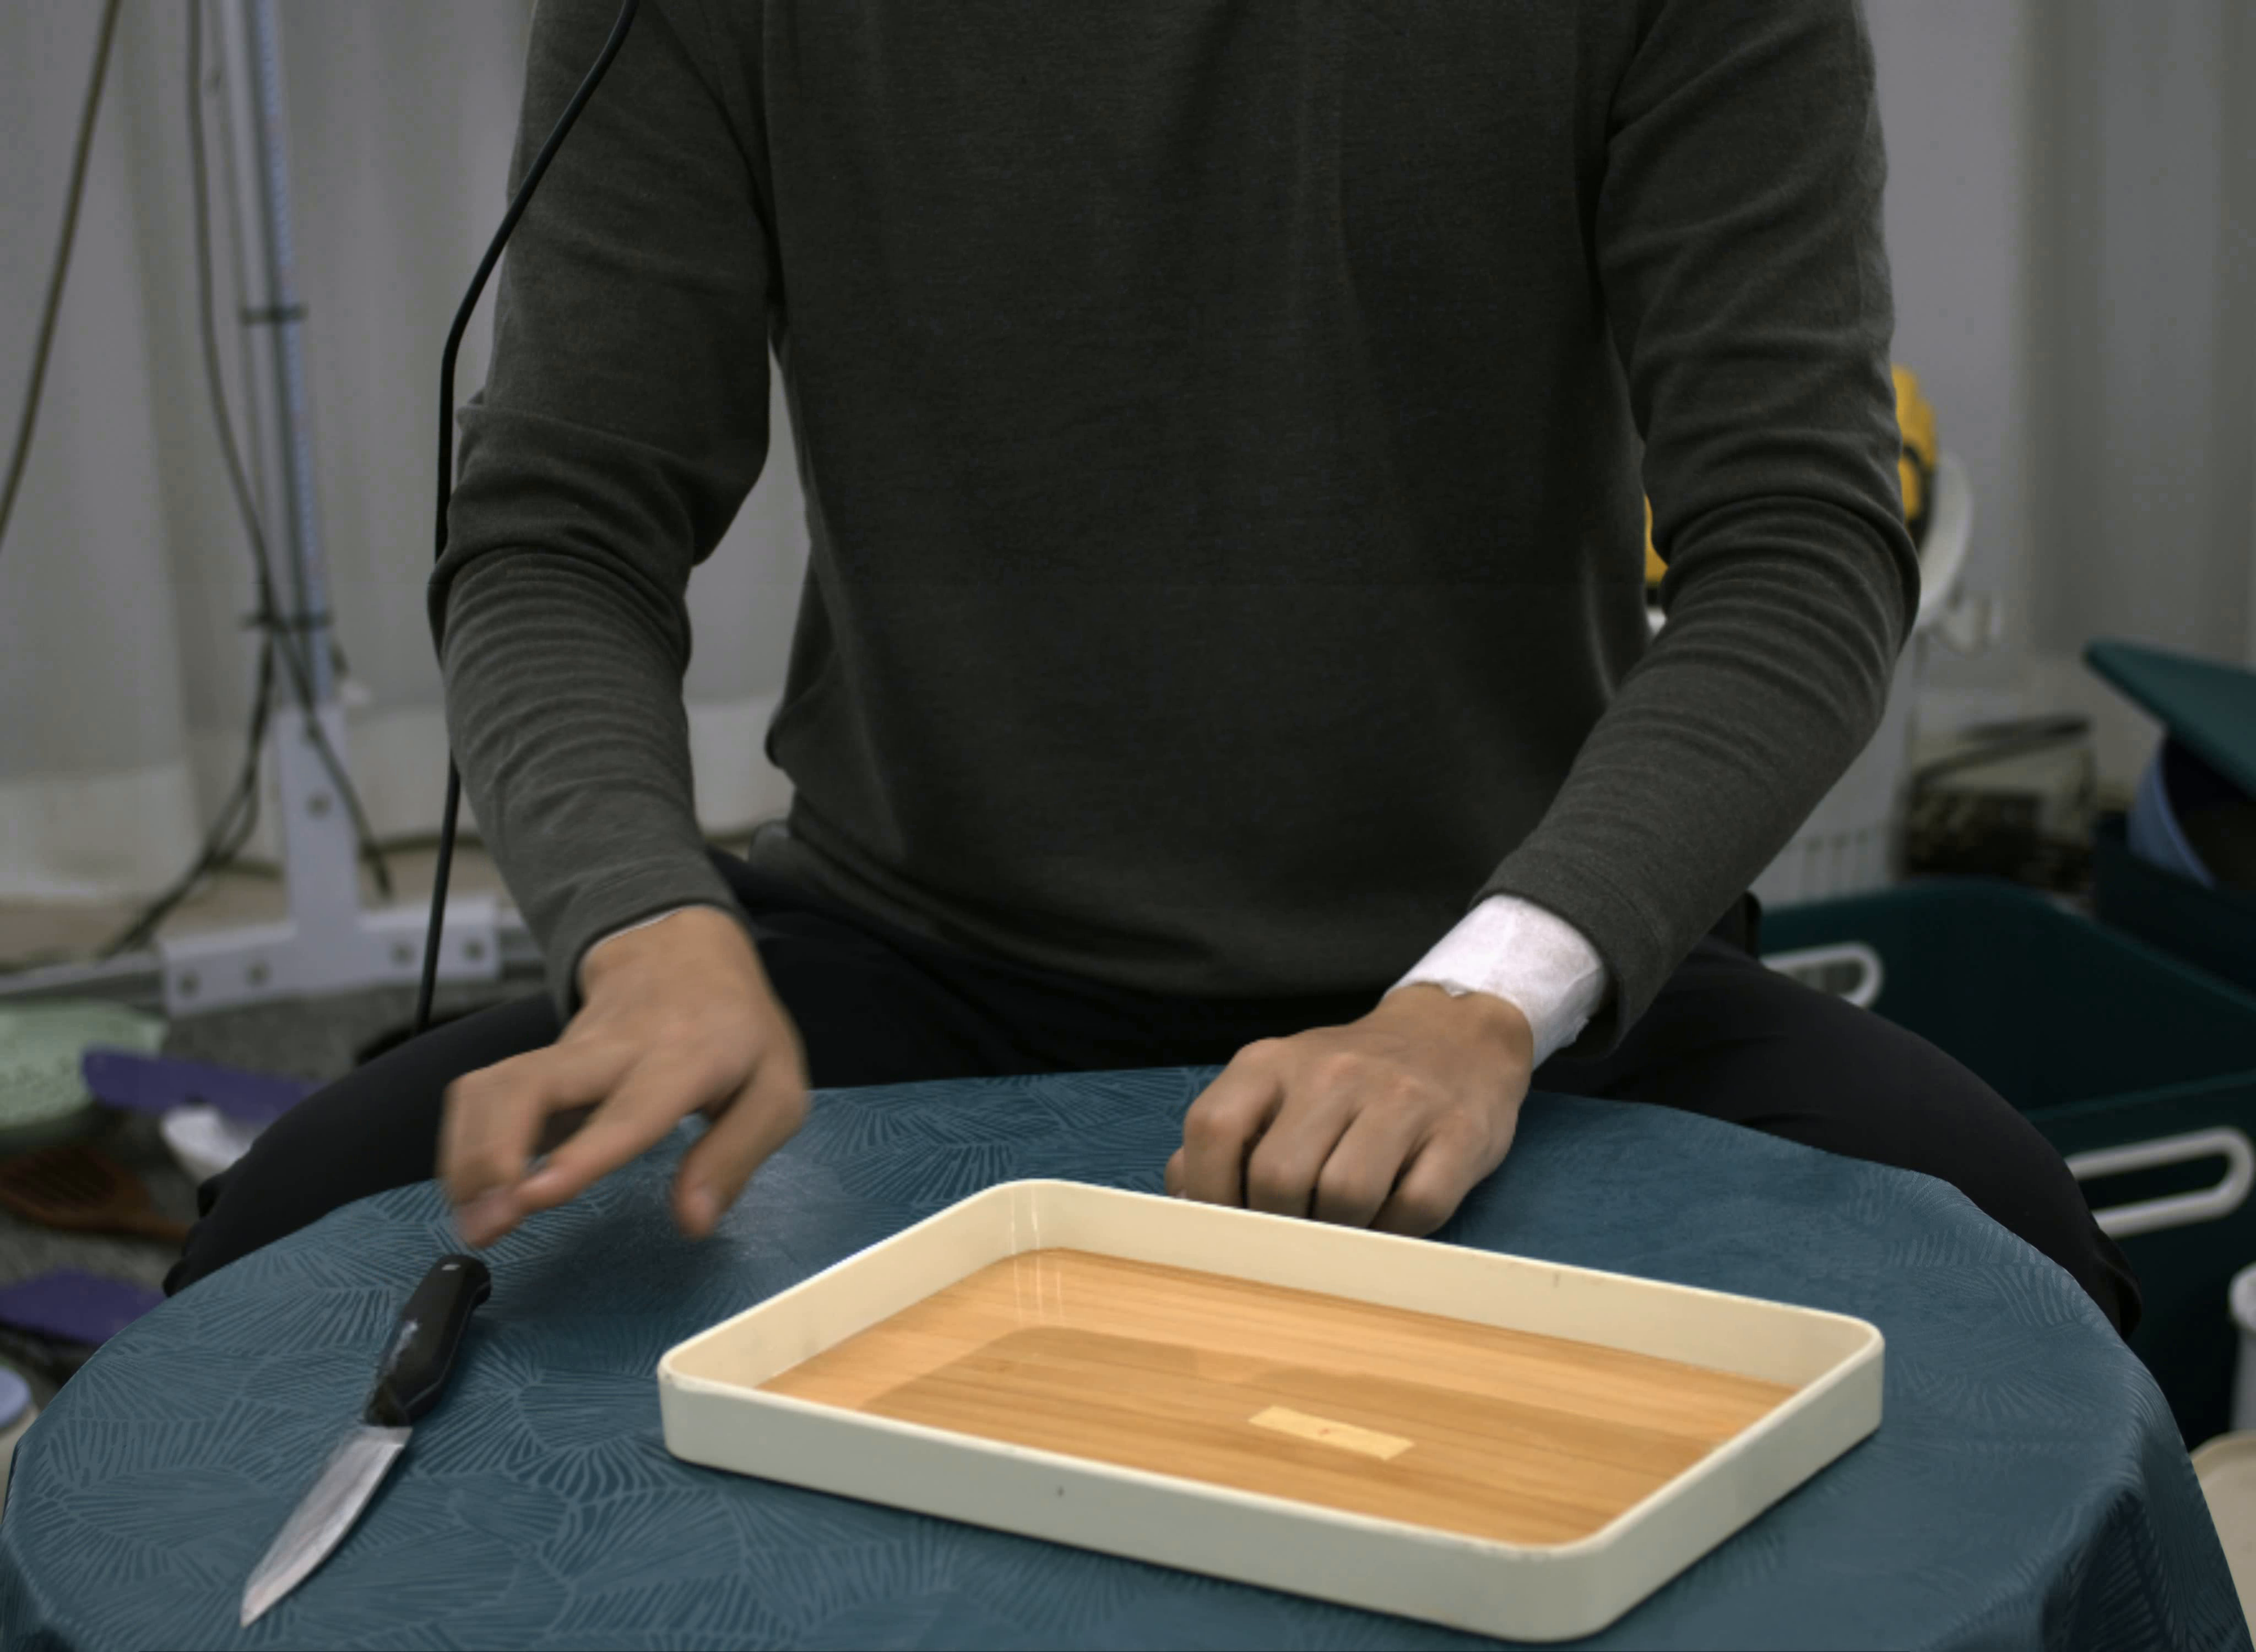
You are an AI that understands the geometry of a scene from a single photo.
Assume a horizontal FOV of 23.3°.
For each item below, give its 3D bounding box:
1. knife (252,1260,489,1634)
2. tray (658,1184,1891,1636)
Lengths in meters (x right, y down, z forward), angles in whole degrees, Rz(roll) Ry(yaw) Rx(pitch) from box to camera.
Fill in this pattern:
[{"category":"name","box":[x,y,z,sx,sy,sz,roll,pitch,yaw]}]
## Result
[{"category":"knife","box":[-0.213,0.171,1.521,0.024,0.016,0.240,0,18,7]},{"category":"tray","box":[0.039,0.156,1.504,0.301,0.027,0.191,7,17,34]}]
